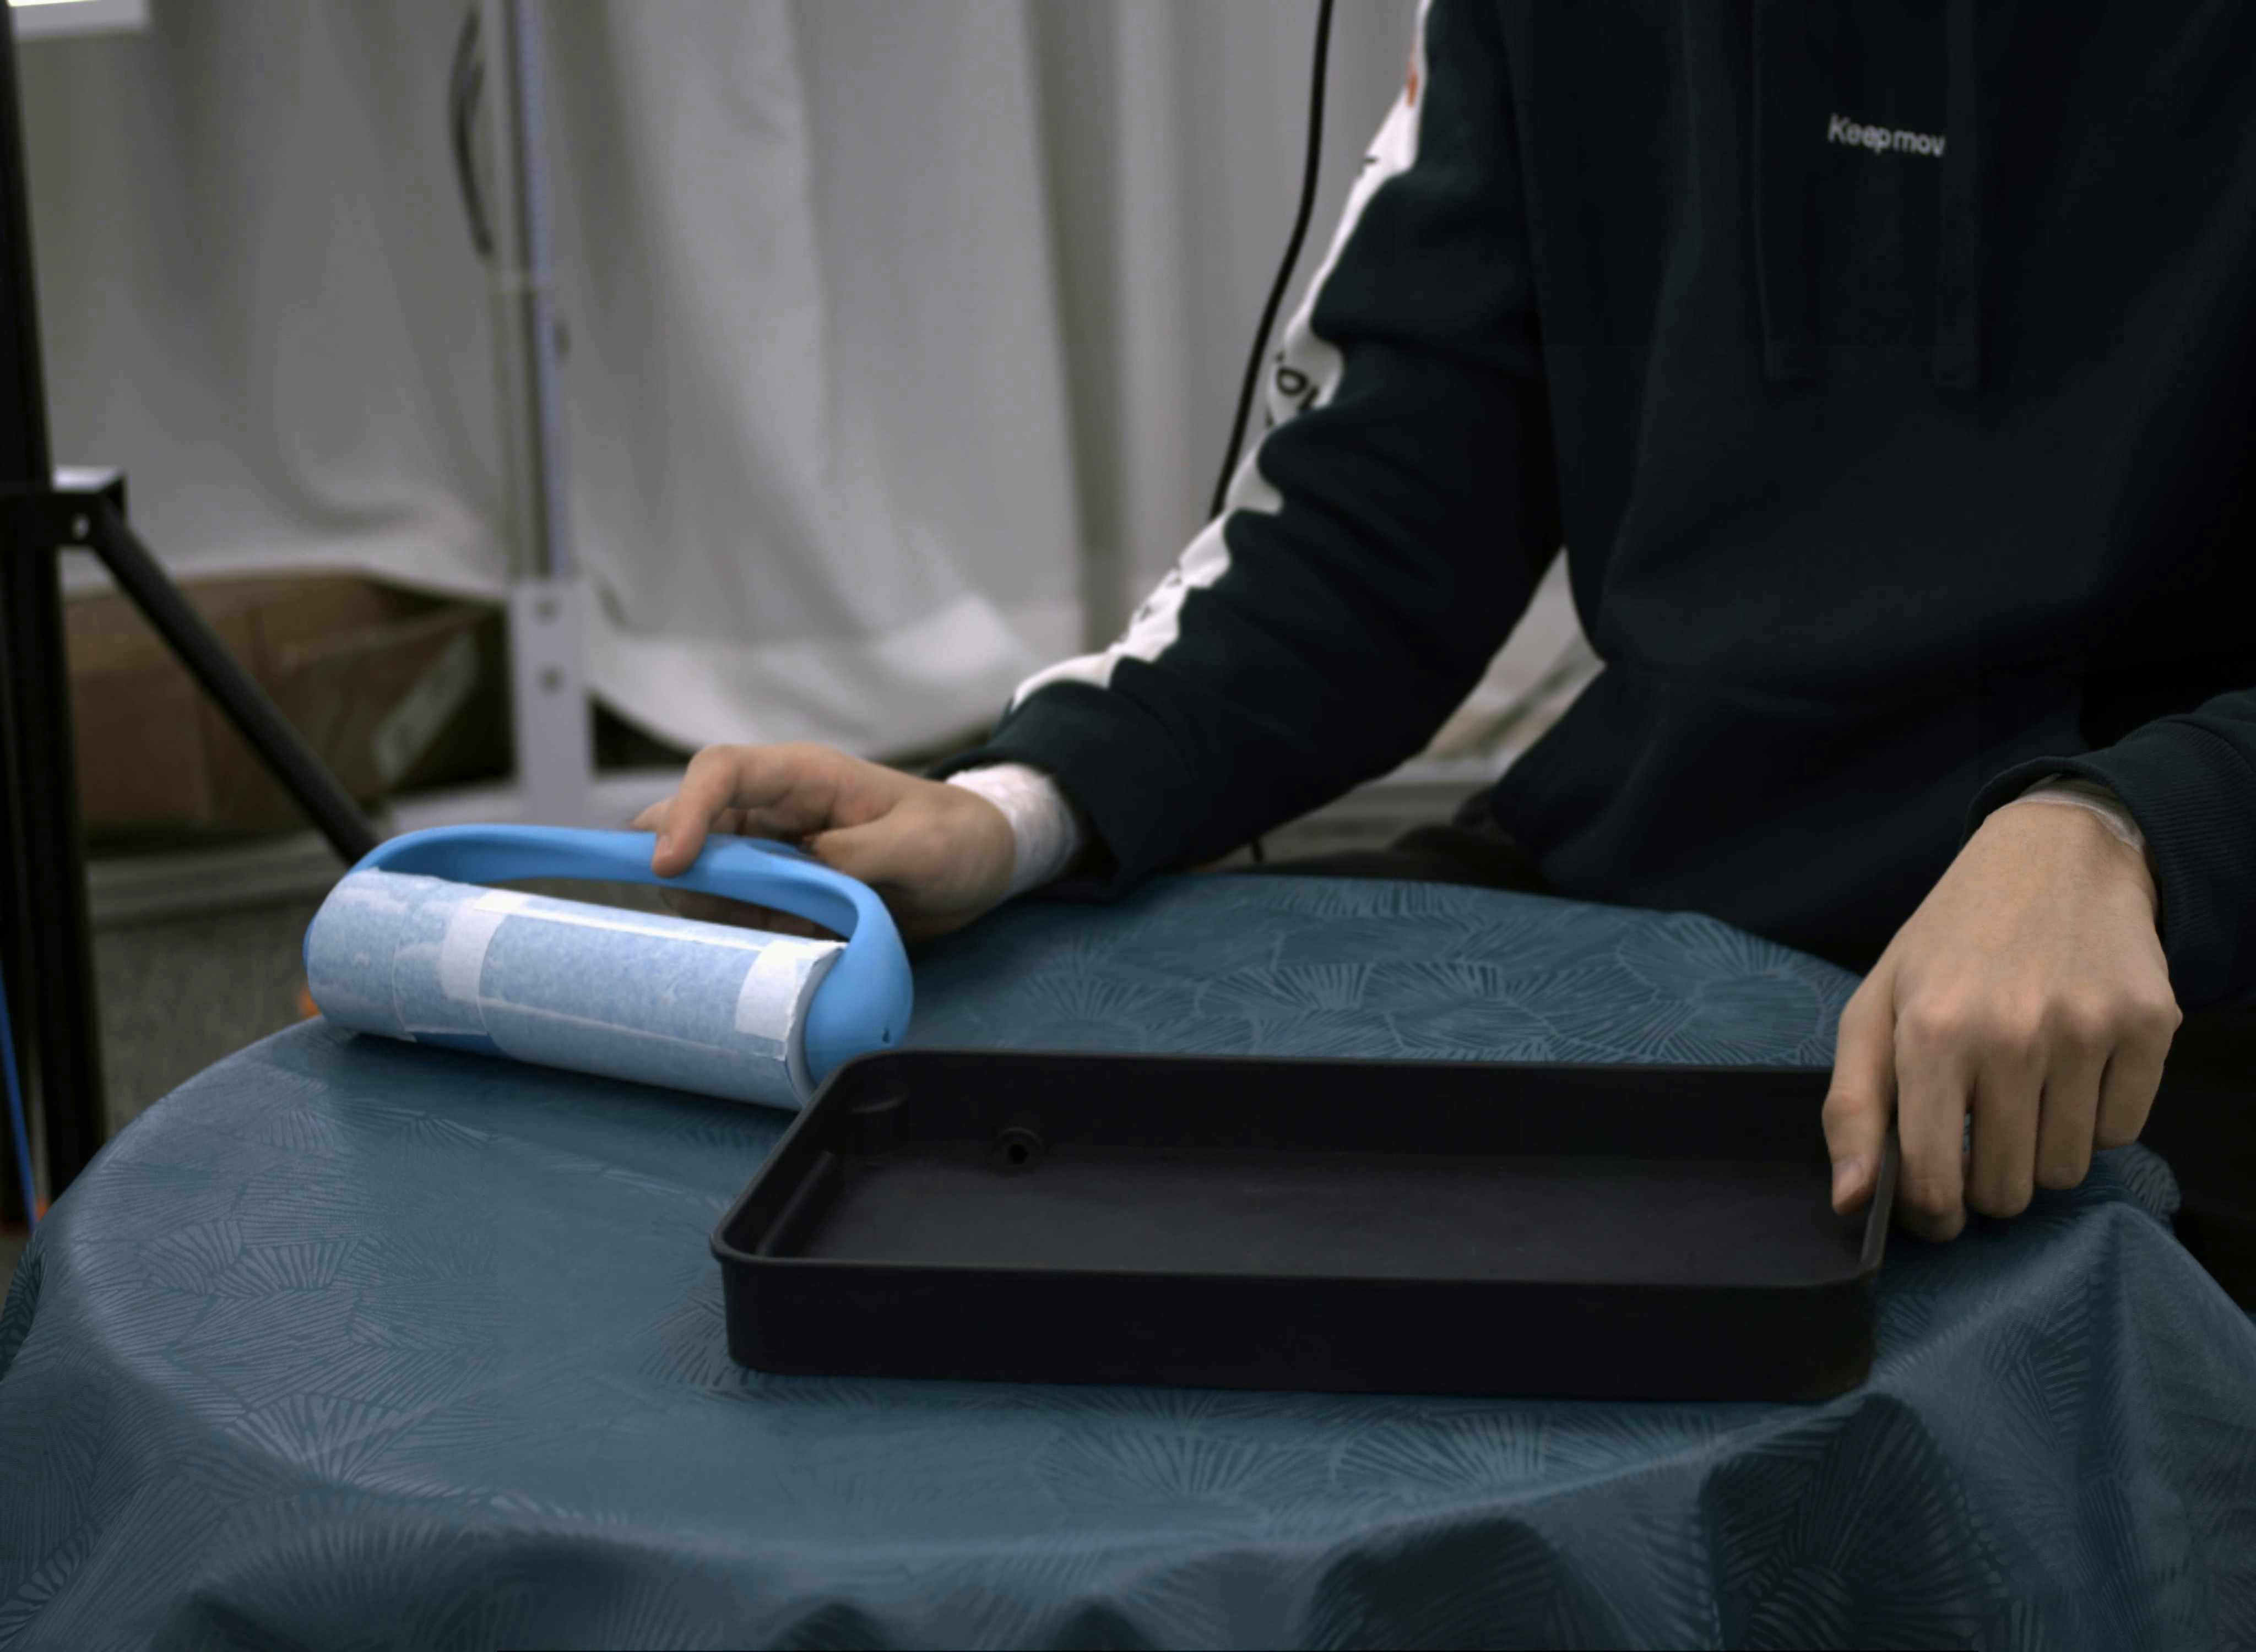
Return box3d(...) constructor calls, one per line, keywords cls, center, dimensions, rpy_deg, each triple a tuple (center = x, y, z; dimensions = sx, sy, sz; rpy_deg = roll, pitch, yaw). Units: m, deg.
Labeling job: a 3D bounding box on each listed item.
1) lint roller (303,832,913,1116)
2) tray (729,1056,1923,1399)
box3d(cls="lint roller", center=(-0.139, 0.035, 1.734), dimensions=(0.233, 0.068, 0.177), rpy_deg=(5, 18, 32))
box3d(cls="tray", center=(0.061, 0.110, 1.476), dimensions=(0.319, 0.037, 0.183), rpy_deg=(-1, 15, 12))
